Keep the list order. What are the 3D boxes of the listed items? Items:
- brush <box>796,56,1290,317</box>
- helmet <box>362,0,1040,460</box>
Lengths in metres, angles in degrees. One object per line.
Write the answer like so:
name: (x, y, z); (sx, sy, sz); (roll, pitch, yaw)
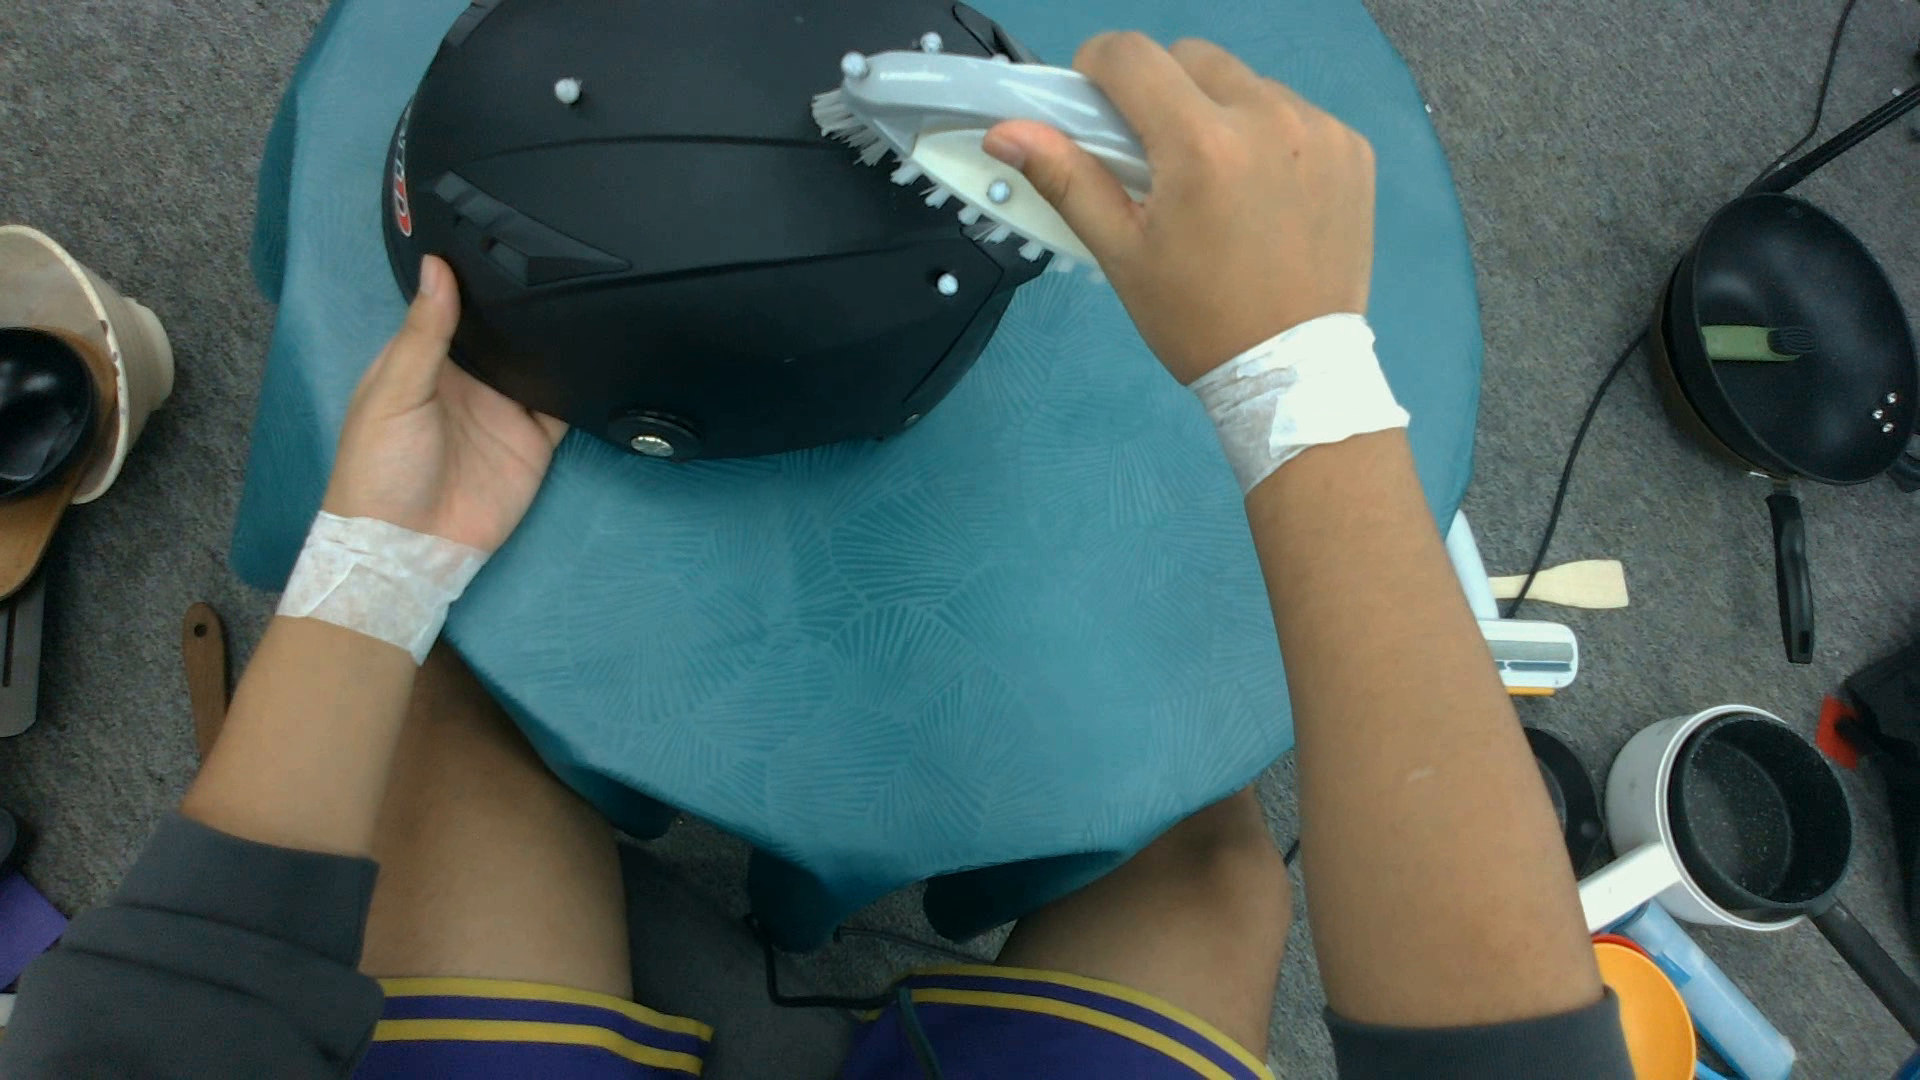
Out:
brush: (0.029, -0.133, 0.476); (0.175, 0.094, 0.061); (16, 84, -6)
helmet: (-0.103, -0.164, 0.579); (0.277, 0.172, 0.247); (4, 75, -19)
